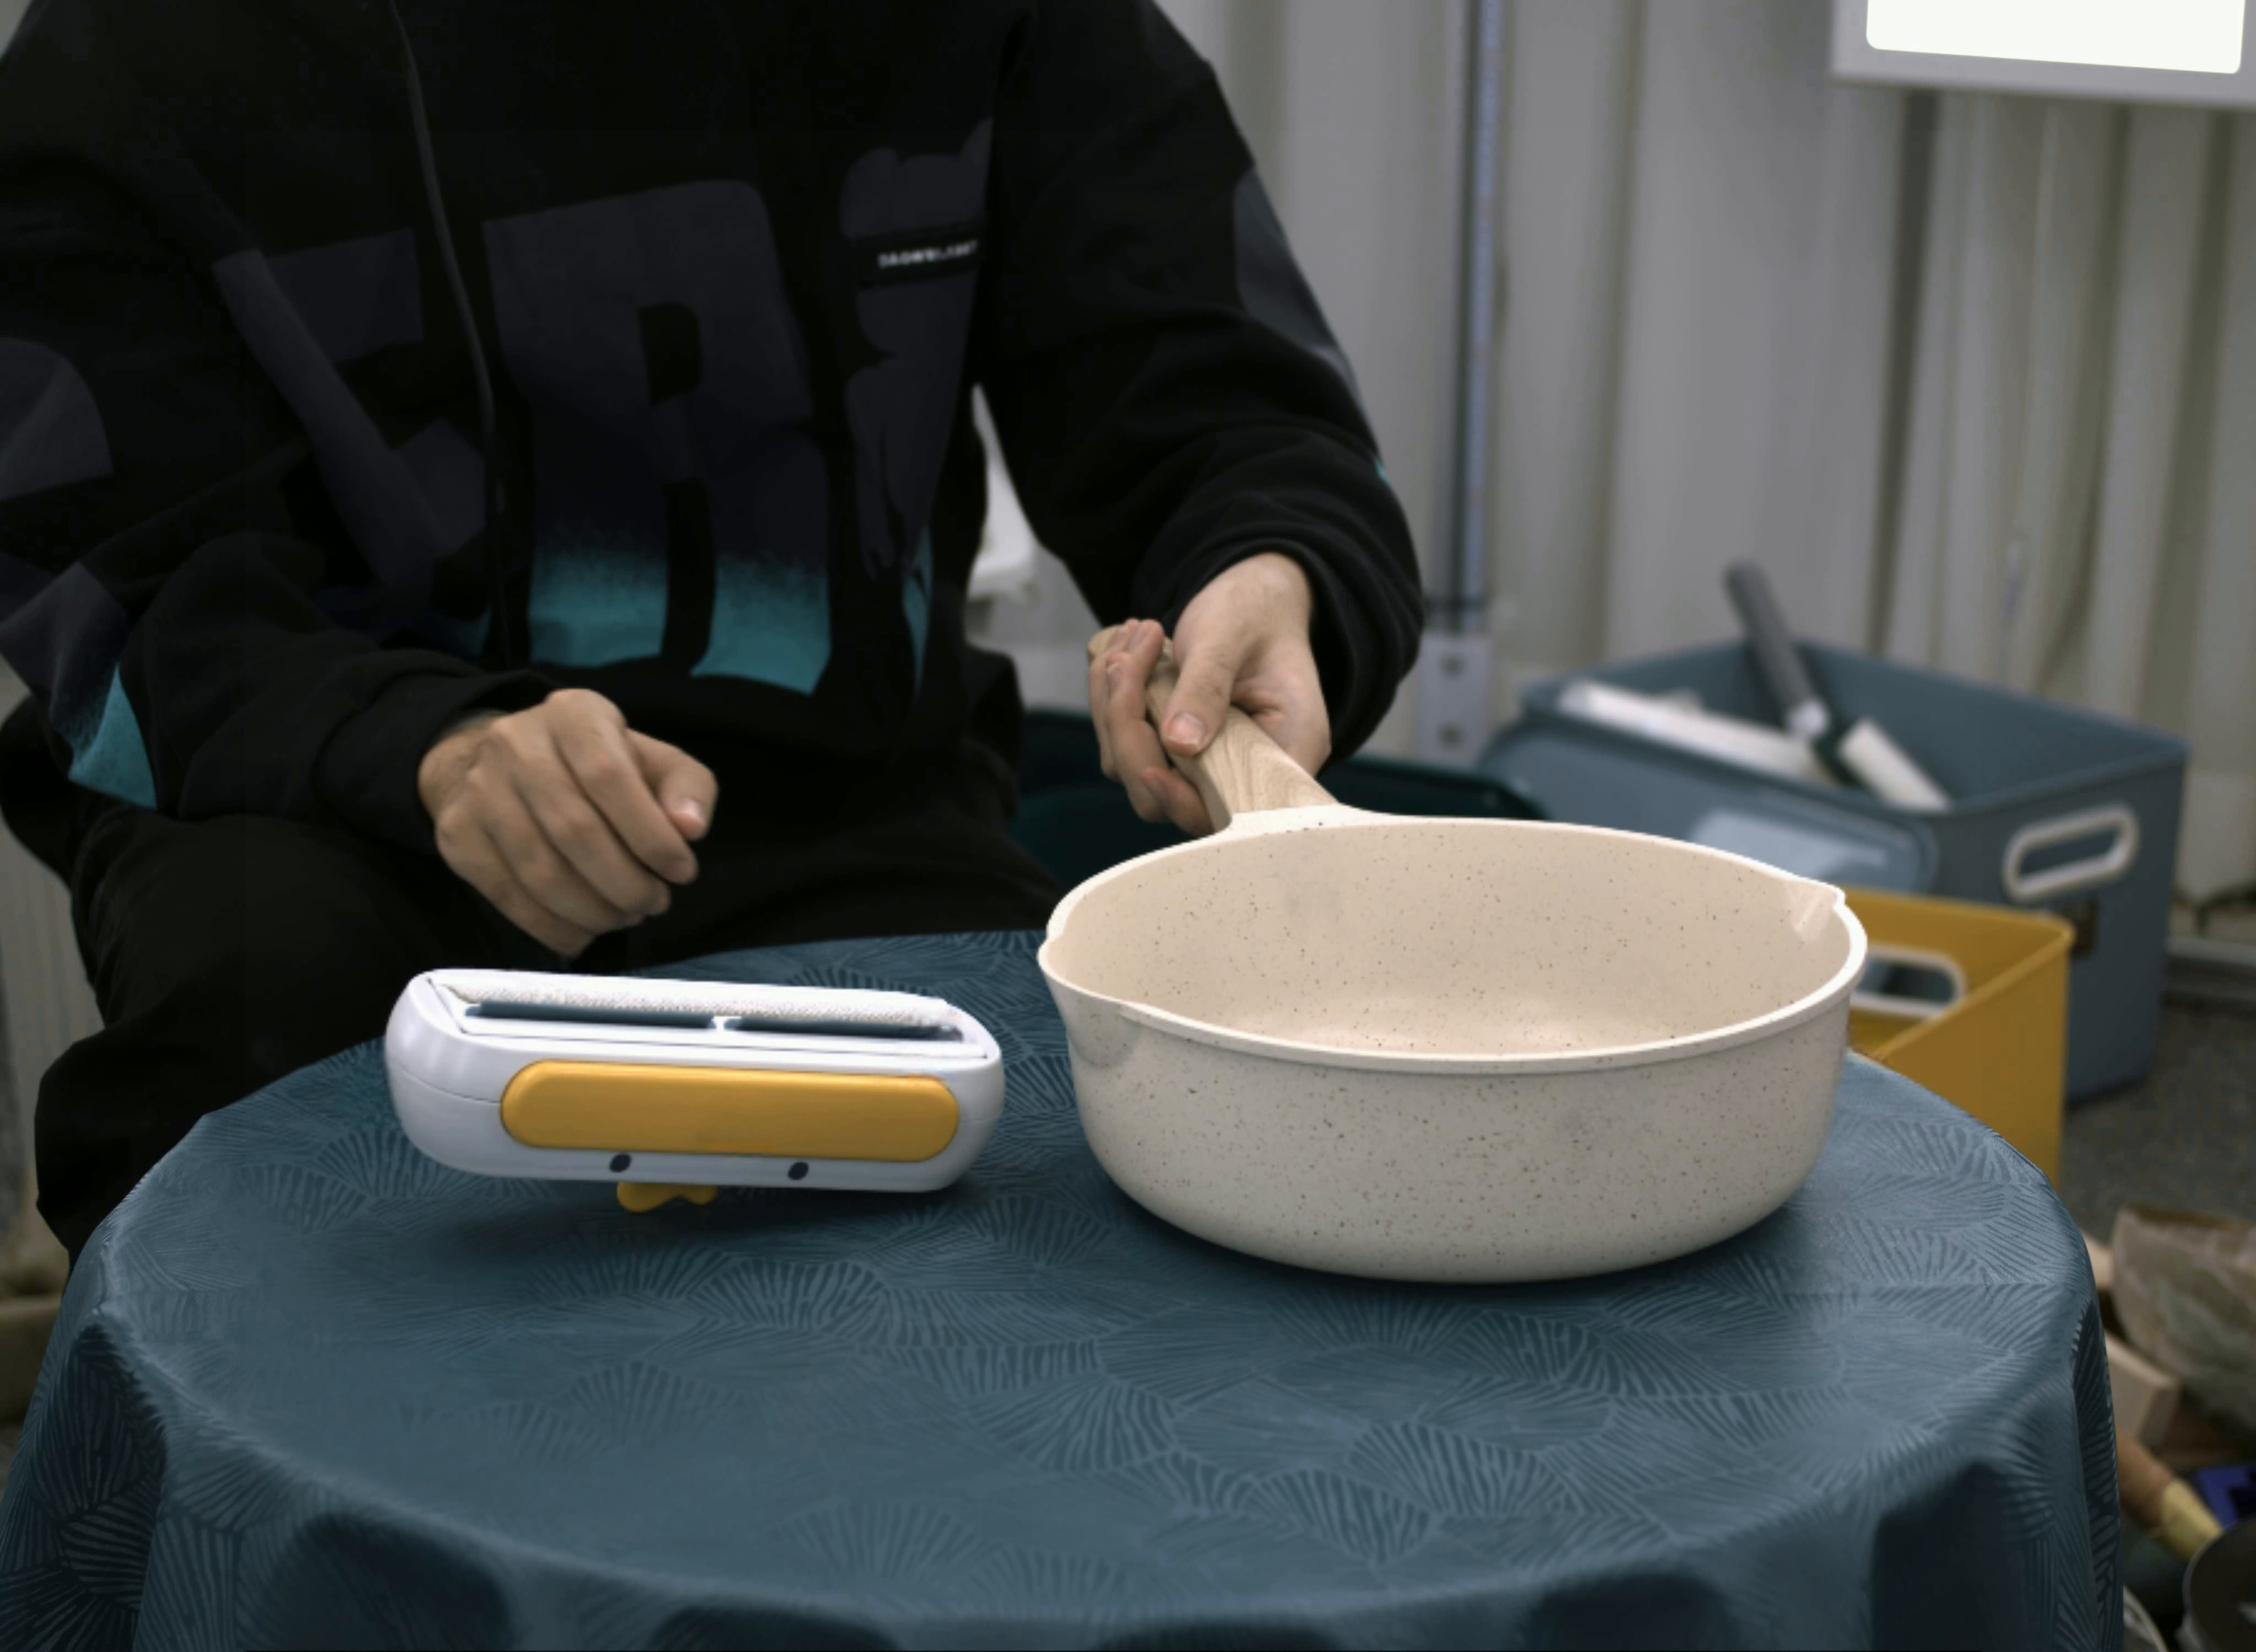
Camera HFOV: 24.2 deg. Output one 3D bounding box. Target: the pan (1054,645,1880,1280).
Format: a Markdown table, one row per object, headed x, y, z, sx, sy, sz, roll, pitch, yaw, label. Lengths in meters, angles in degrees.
| x | y | z | sx | sy | sz | roll | pitch | yaw | label |
| --- | --- | --- | --- | --- | --- | --- | --- | --- | --- |
| 0.073 | 0.038 | 1.701 | 0.264 | 0.103 | 0.430 | -8 | 18 | -19 | pan |

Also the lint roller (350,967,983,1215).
| x | y | z | sx | sy | sz | roll | pitch | yaw | label |
| --- | --- | --- | --- | --- | --- | --- | --- | --- | --- |
| -0.158 | 0.071 | 1.639 | 0.193 | 0.074 | 0.190 | 0 | 12 | -21 | lint roller |
